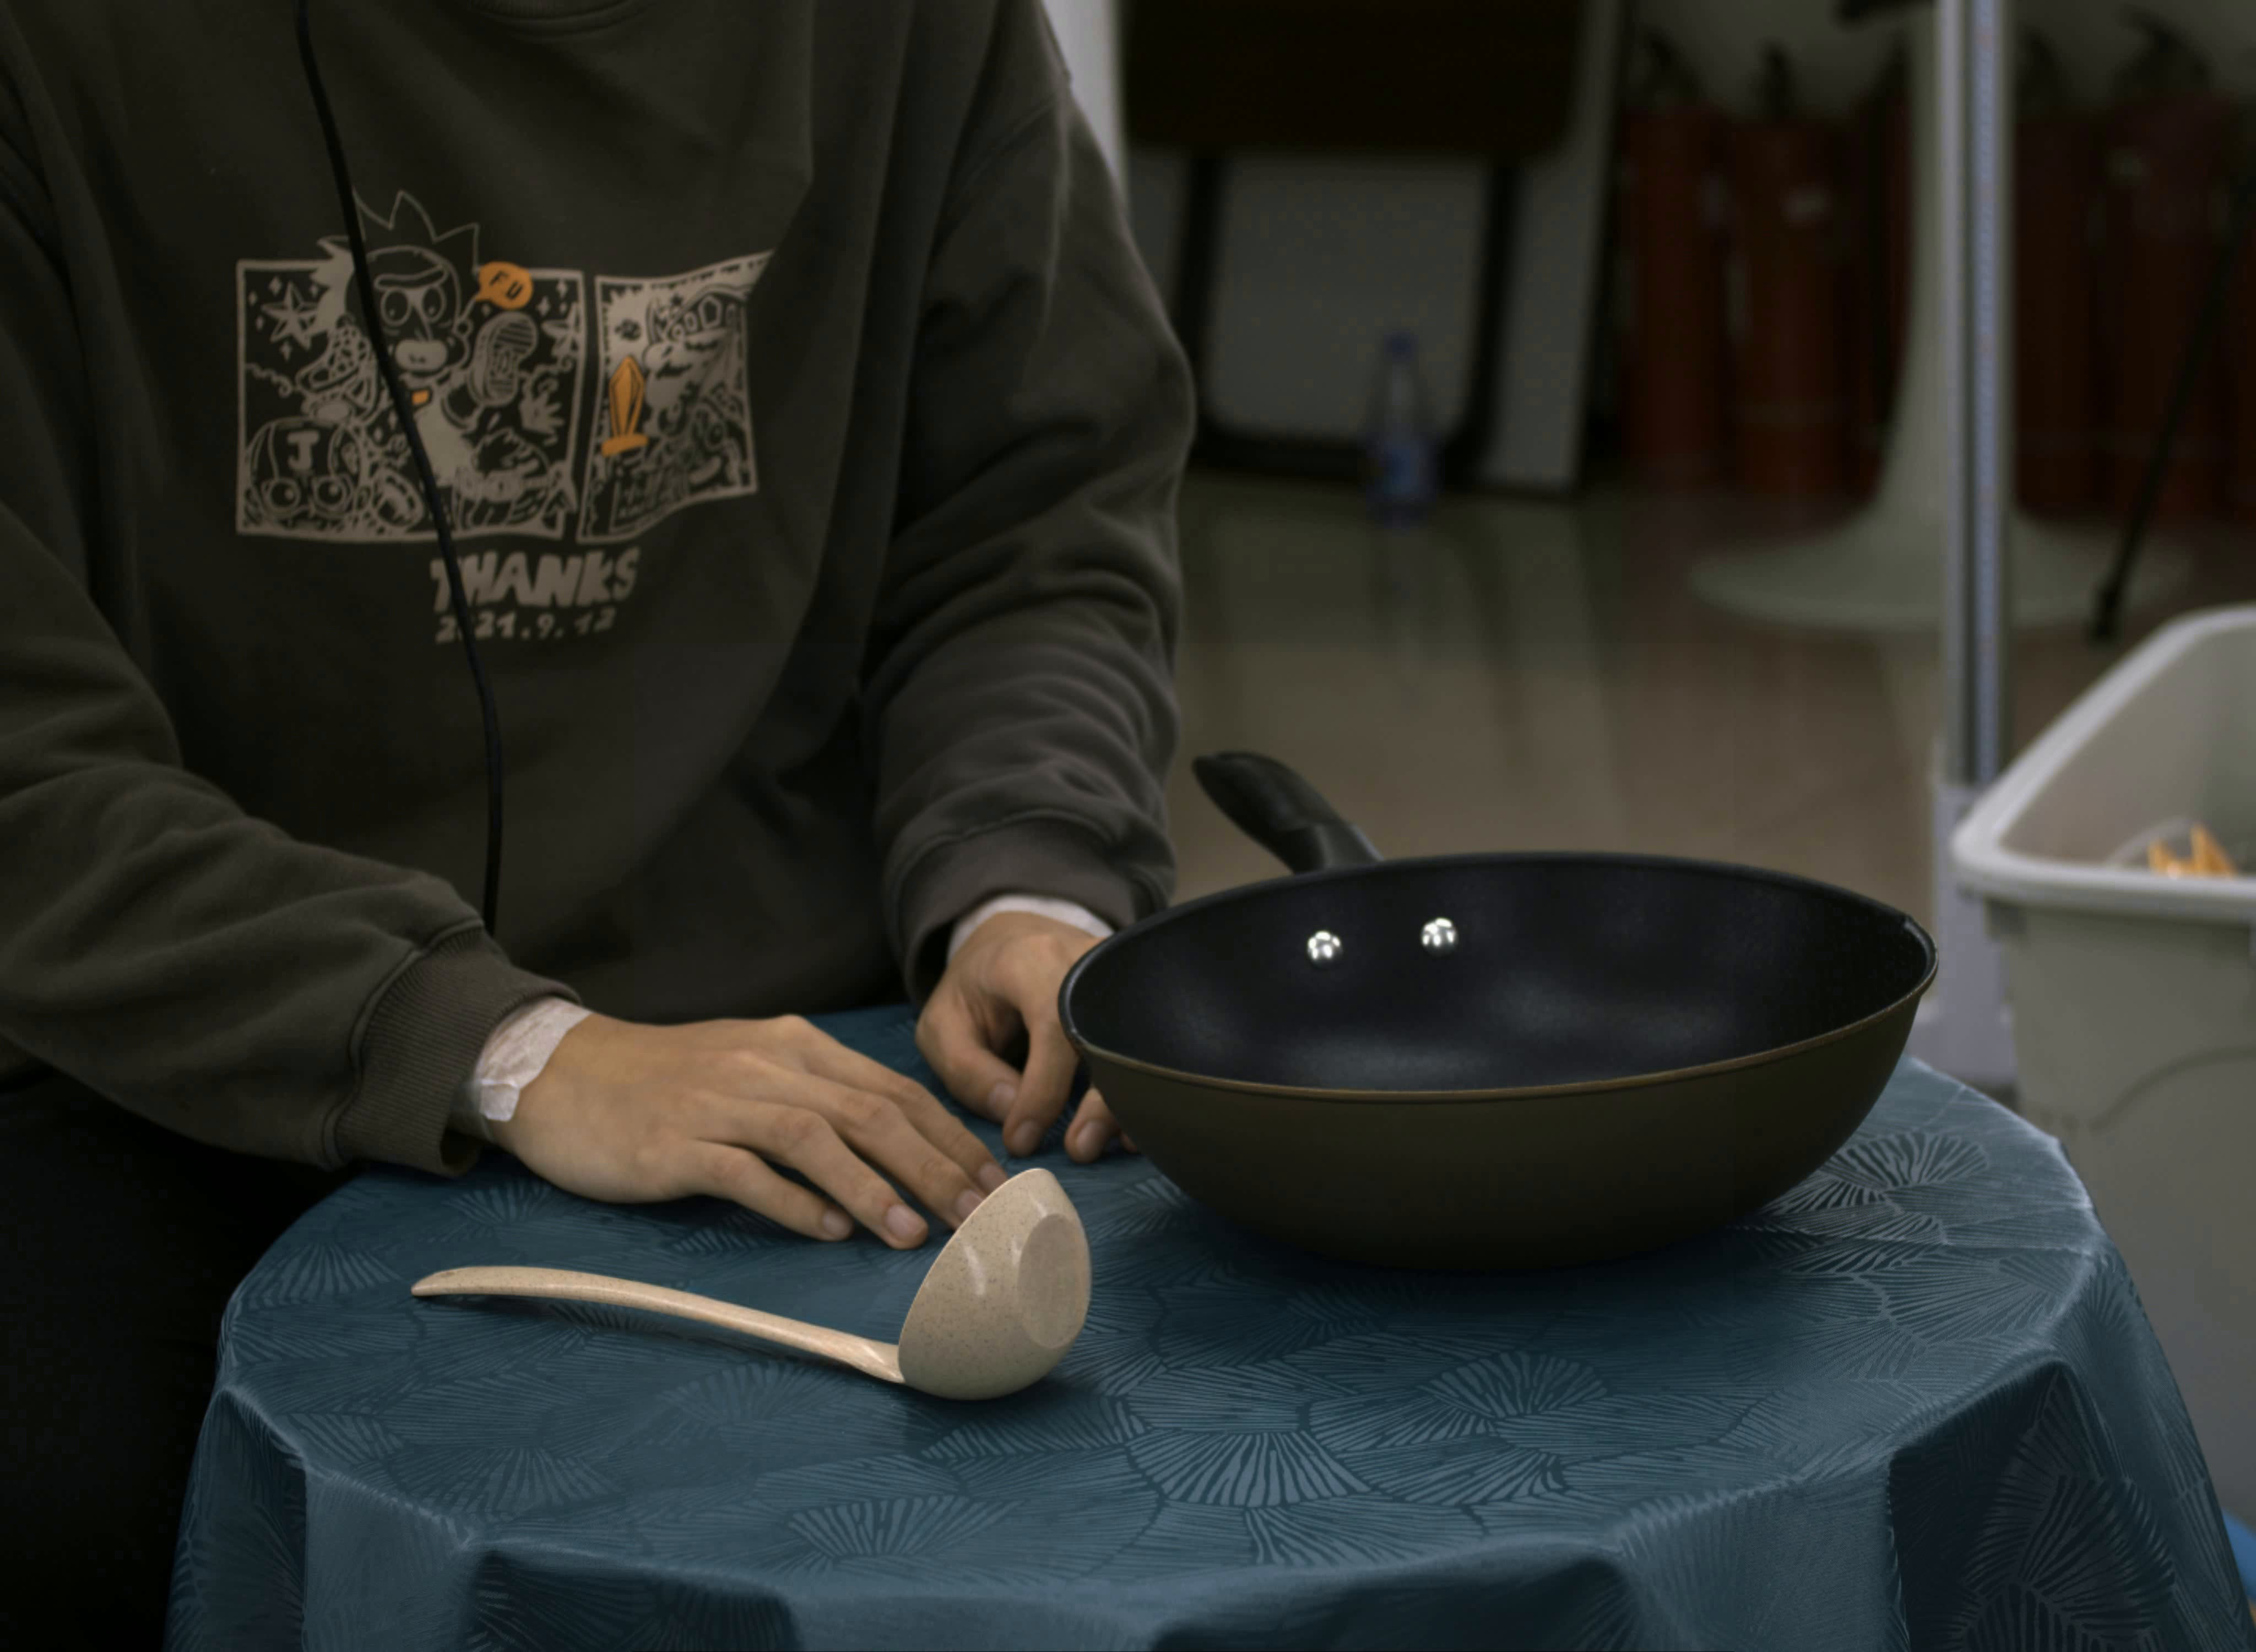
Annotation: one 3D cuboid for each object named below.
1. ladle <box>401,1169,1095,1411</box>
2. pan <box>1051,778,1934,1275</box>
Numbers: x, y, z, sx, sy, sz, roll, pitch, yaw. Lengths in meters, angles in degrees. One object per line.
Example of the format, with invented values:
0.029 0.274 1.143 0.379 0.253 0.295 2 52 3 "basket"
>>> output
-0.125 0.126 1.636 0.256 0.073 0.071 6 23 33 "ladle"
0.095 0.064 1.810 0.283 0.088 0.466 -7 13 -13 "pan"
